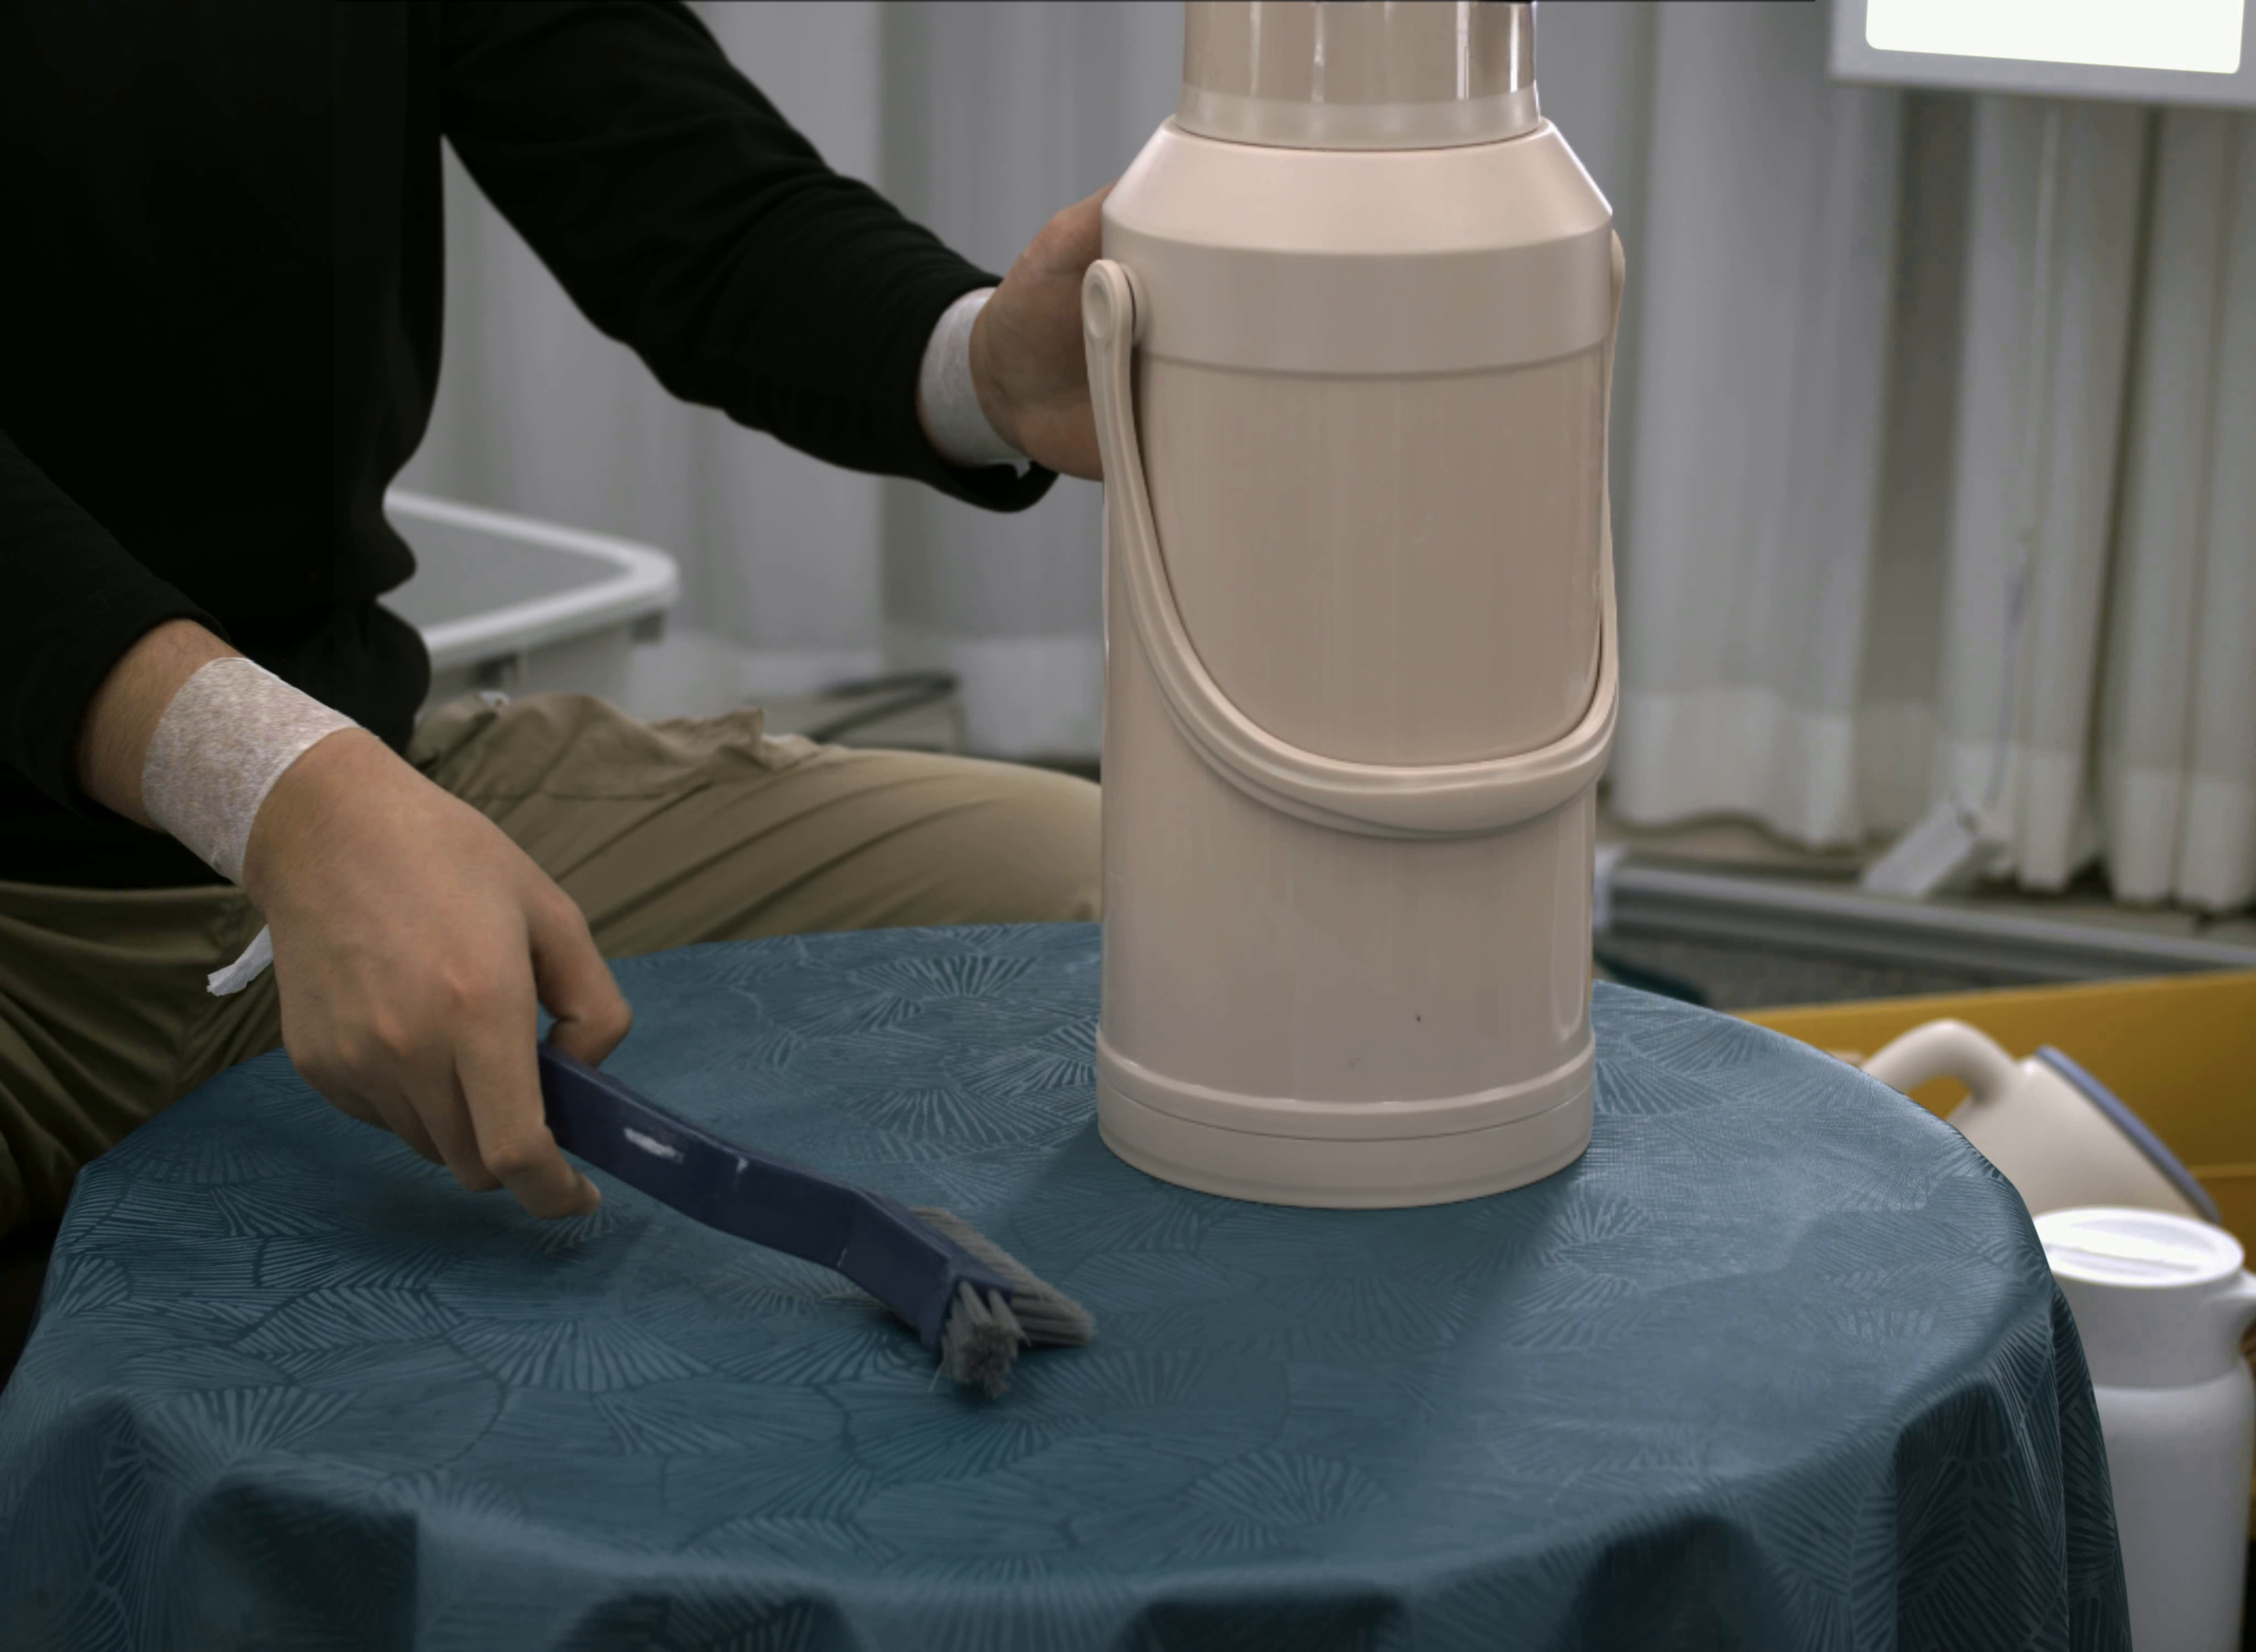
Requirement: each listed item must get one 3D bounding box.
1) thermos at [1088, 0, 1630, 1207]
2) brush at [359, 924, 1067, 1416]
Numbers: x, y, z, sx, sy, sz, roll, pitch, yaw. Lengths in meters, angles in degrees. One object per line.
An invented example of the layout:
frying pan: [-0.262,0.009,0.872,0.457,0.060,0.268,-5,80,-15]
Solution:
thermos: [0.067,-0.099,1.639,0.176,0.410,0.204,-9,19,-25]
brush: [-0.135,0.096,1.528,0.270,0.034,0.096,24,16,24]
